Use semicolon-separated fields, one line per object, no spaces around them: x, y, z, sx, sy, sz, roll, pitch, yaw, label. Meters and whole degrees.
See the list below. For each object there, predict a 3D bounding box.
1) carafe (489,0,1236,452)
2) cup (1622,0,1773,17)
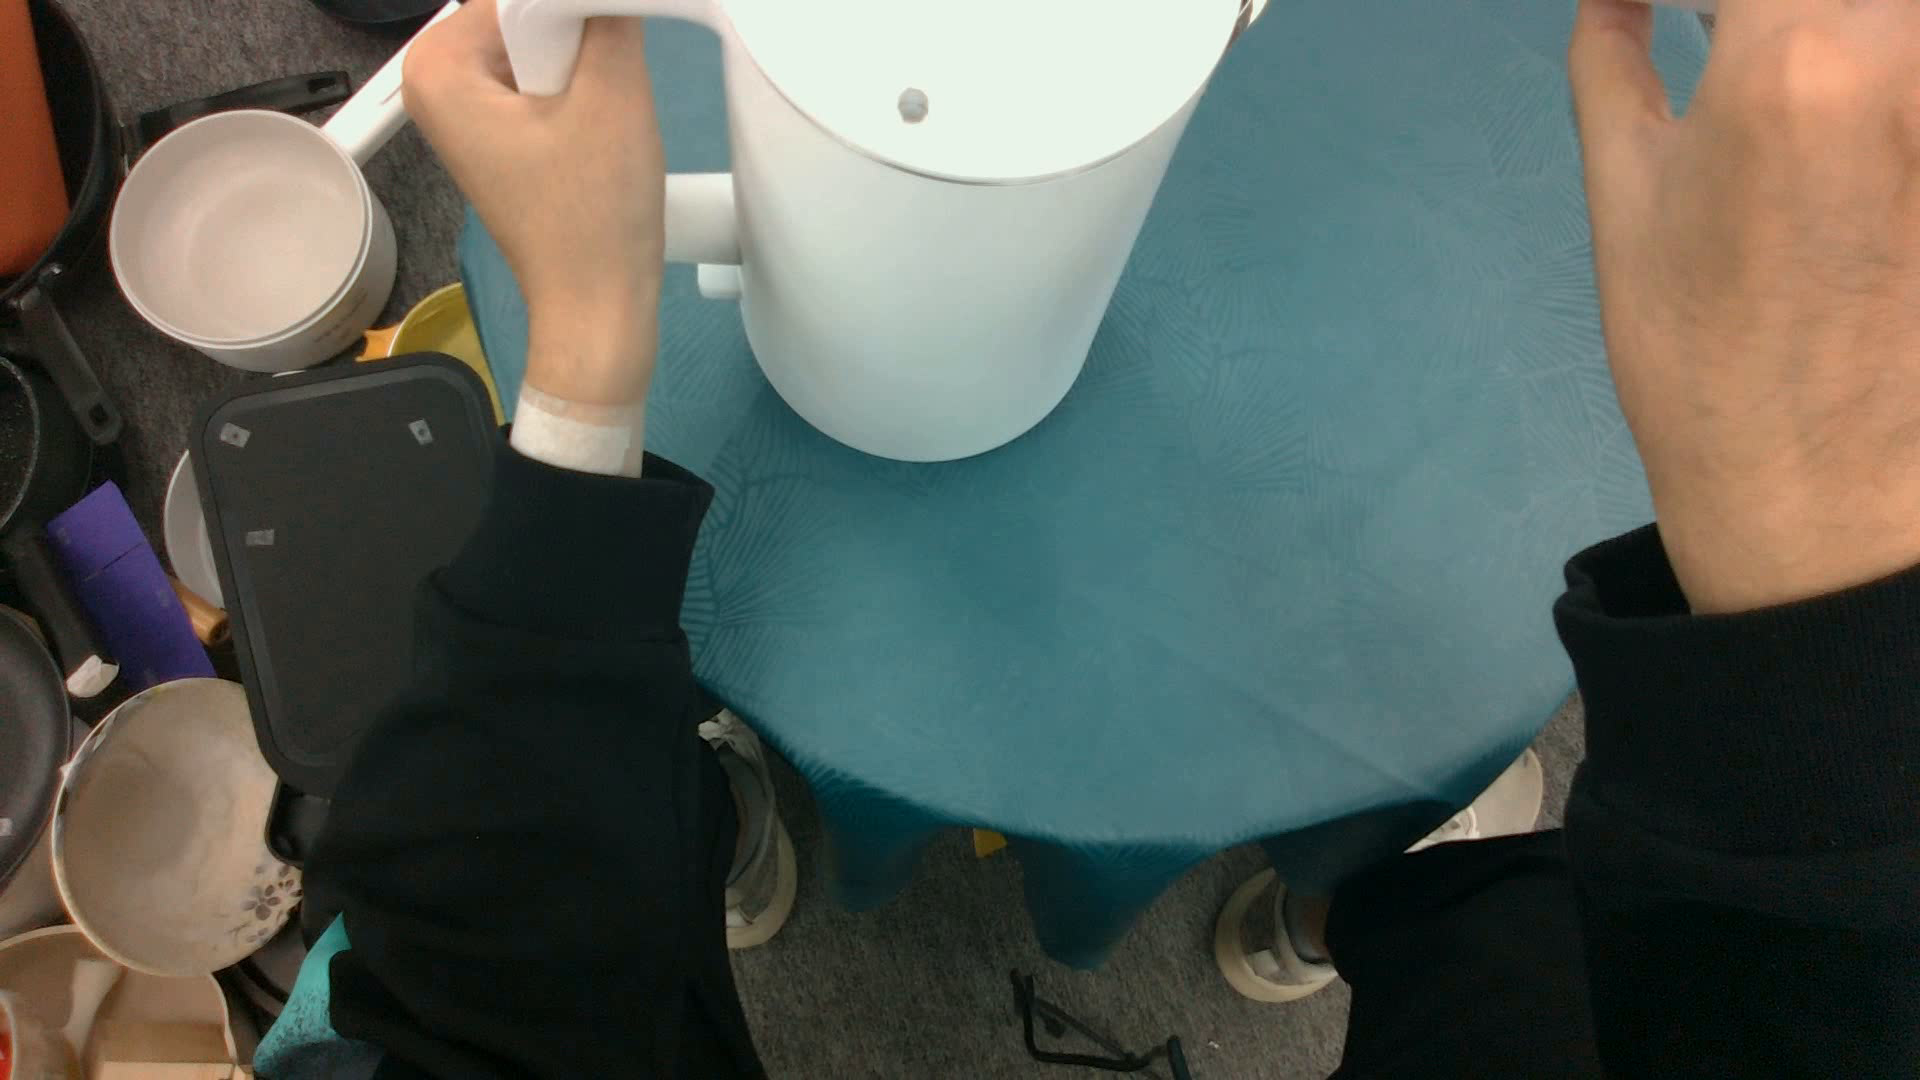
-0.037;-0.139;0.475;0.213;0.239;0.152;-1;75;-8;carafe
0.126;-0.163;0.302;0.125;0.081;0.082;11;77;2;cup
